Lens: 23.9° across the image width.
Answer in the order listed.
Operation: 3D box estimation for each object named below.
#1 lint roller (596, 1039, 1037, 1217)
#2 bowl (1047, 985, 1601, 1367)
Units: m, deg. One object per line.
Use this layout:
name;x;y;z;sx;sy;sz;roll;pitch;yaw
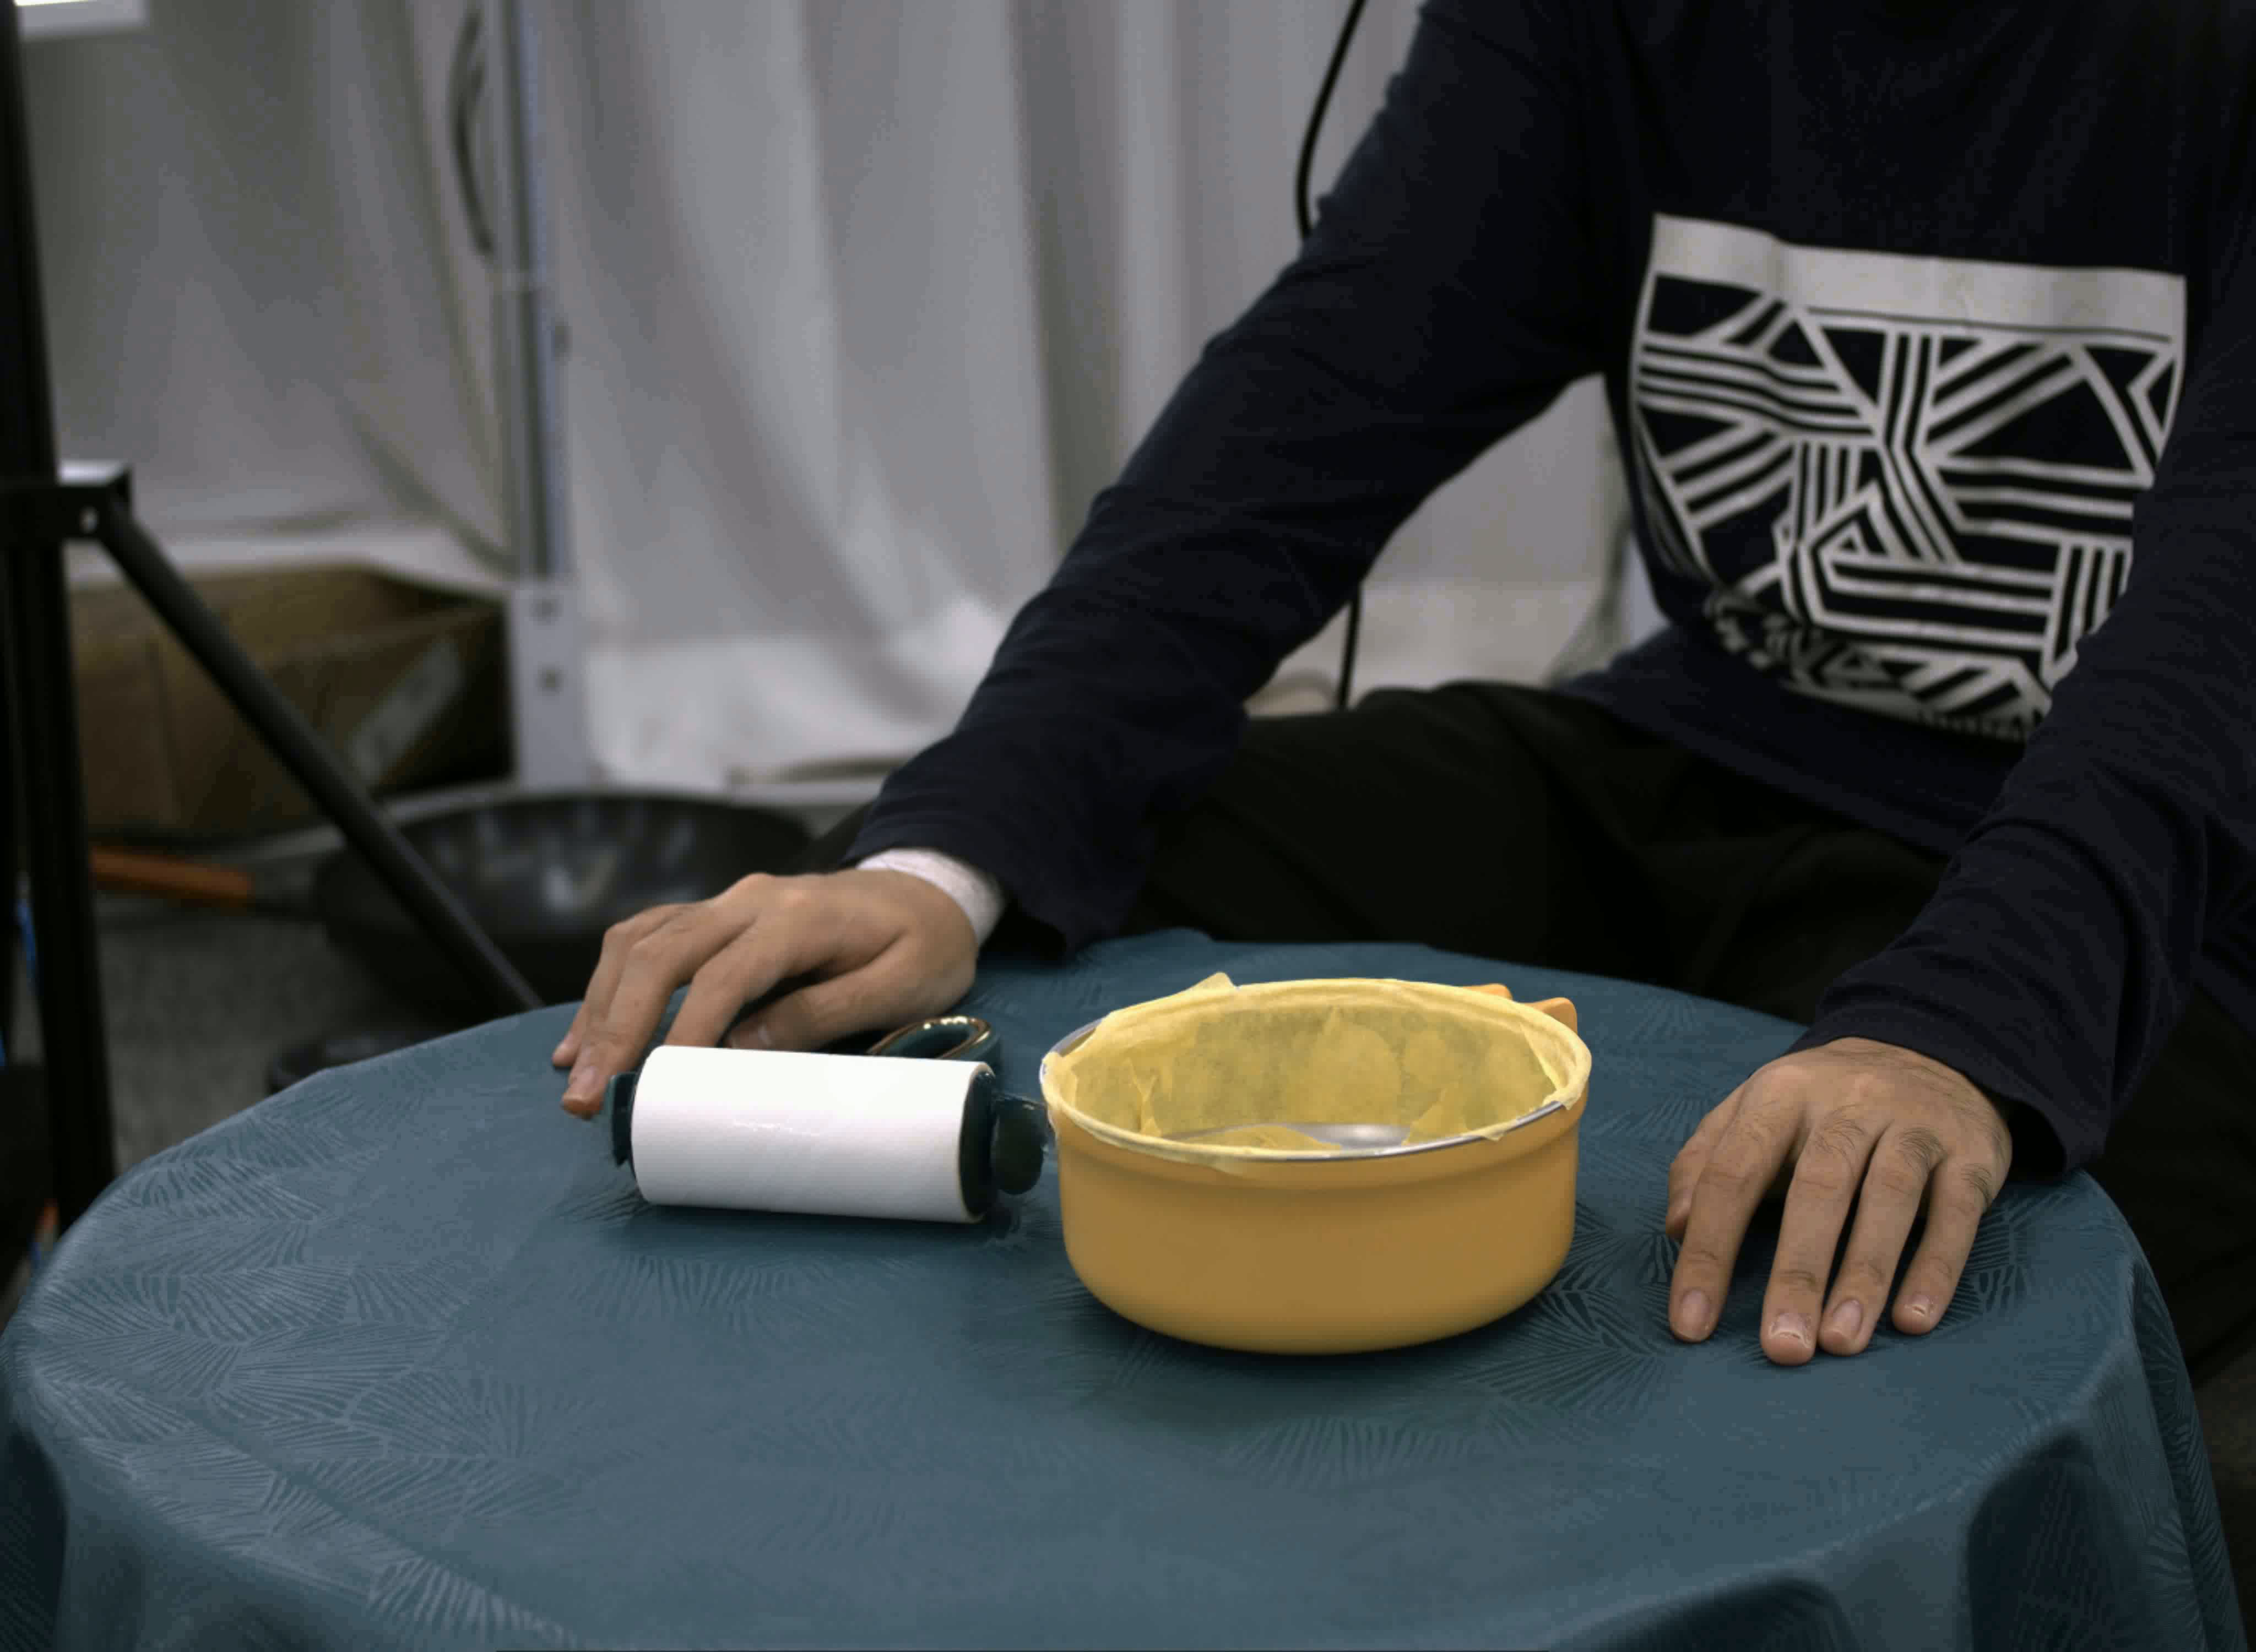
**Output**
lint roller;-0.075;0.077;1.617;0.135;0.048;0.178;2;11;16
bowl;0.063;0.096;1.478;0.156;0.074;0.175;8;19;36
